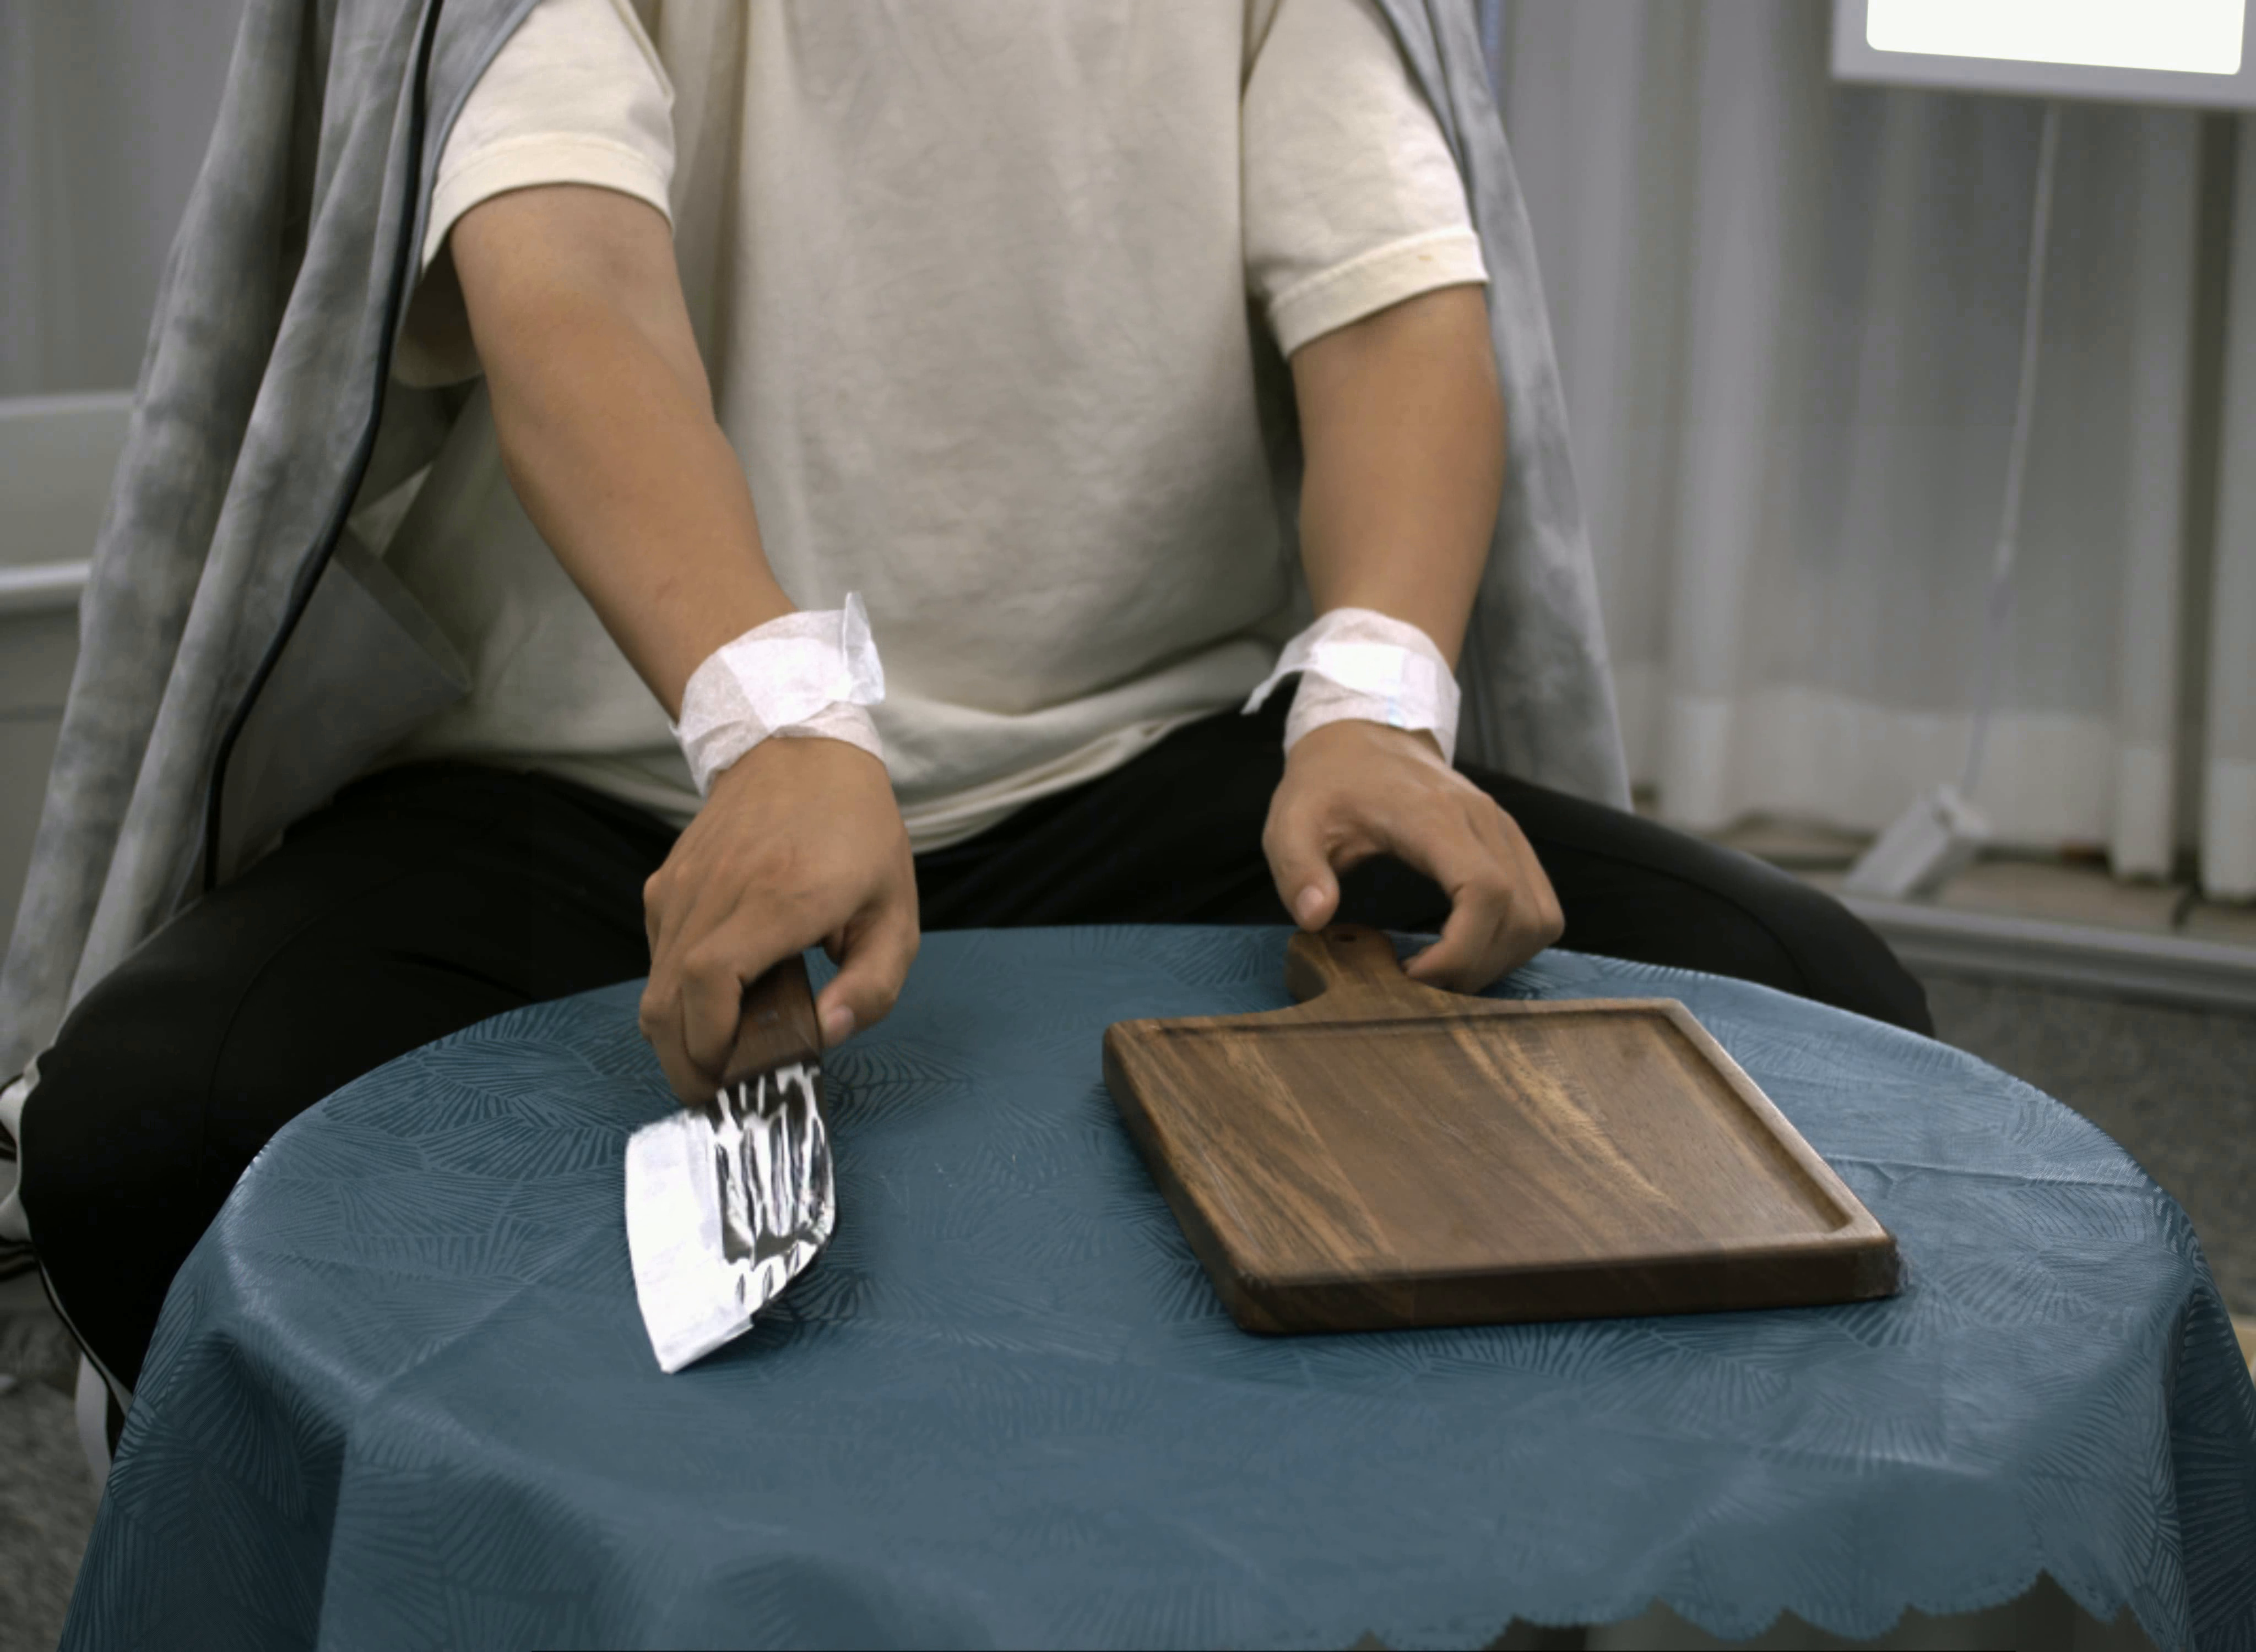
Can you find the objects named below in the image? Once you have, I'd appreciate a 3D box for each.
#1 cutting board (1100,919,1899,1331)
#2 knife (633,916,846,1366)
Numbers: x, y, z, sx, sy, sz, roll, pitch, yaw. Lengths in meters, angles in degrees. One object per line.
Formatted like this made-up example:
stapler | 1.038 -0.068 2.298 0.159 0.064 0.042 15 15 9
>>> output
cutting board | 0.100 0.087 1.681 0.201 0.023 0.349 -2 15 -10
knife | -0.120 0.094 1.612 0.068 0.024 0.297 -22 20 3
